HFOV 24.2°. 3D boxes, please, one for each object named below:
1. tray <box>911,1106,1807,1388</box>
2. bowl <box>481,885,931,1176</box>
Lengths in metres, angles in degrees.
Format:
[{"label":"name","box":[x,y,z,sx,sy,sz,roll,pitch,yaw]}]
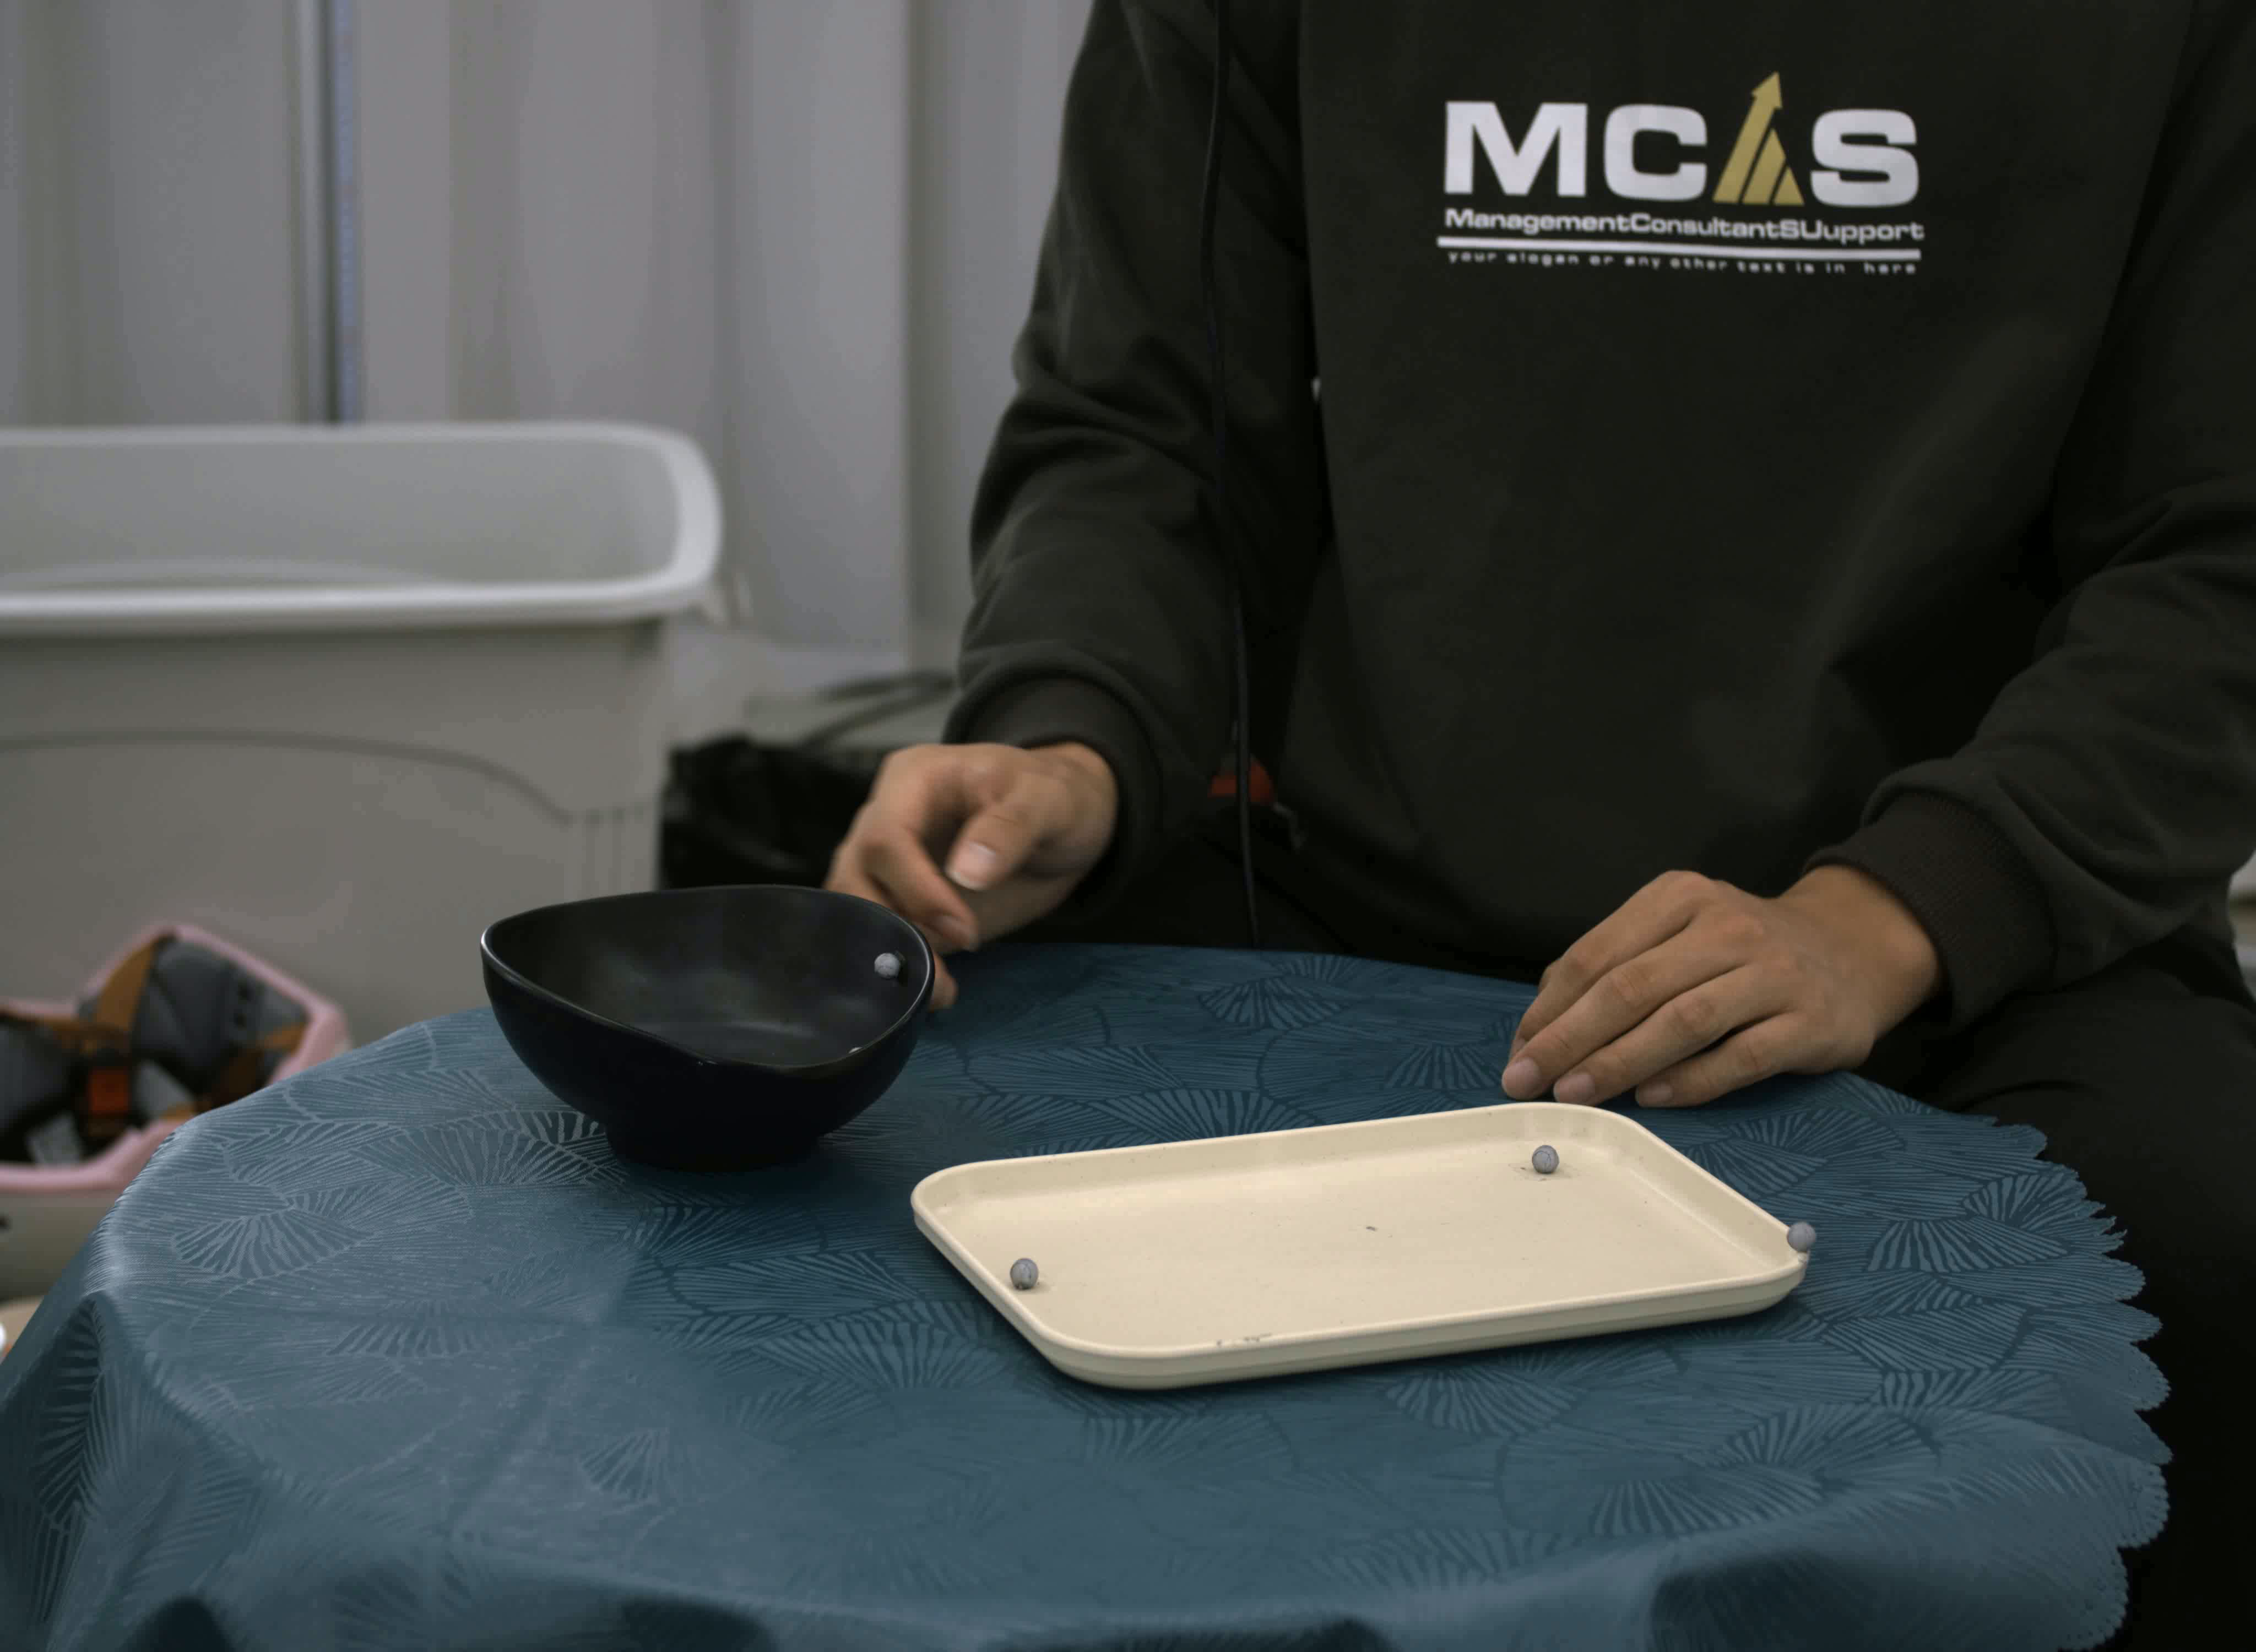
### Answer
[{"label":"tray","box":[0.067,0.124,1.561,0.240,0.017,0.169,-5,16,-21]},{"label":"bowl","box":[-0.131,0.068,1.665,0.138,0.067,0.168,-9,20,-28]}]
